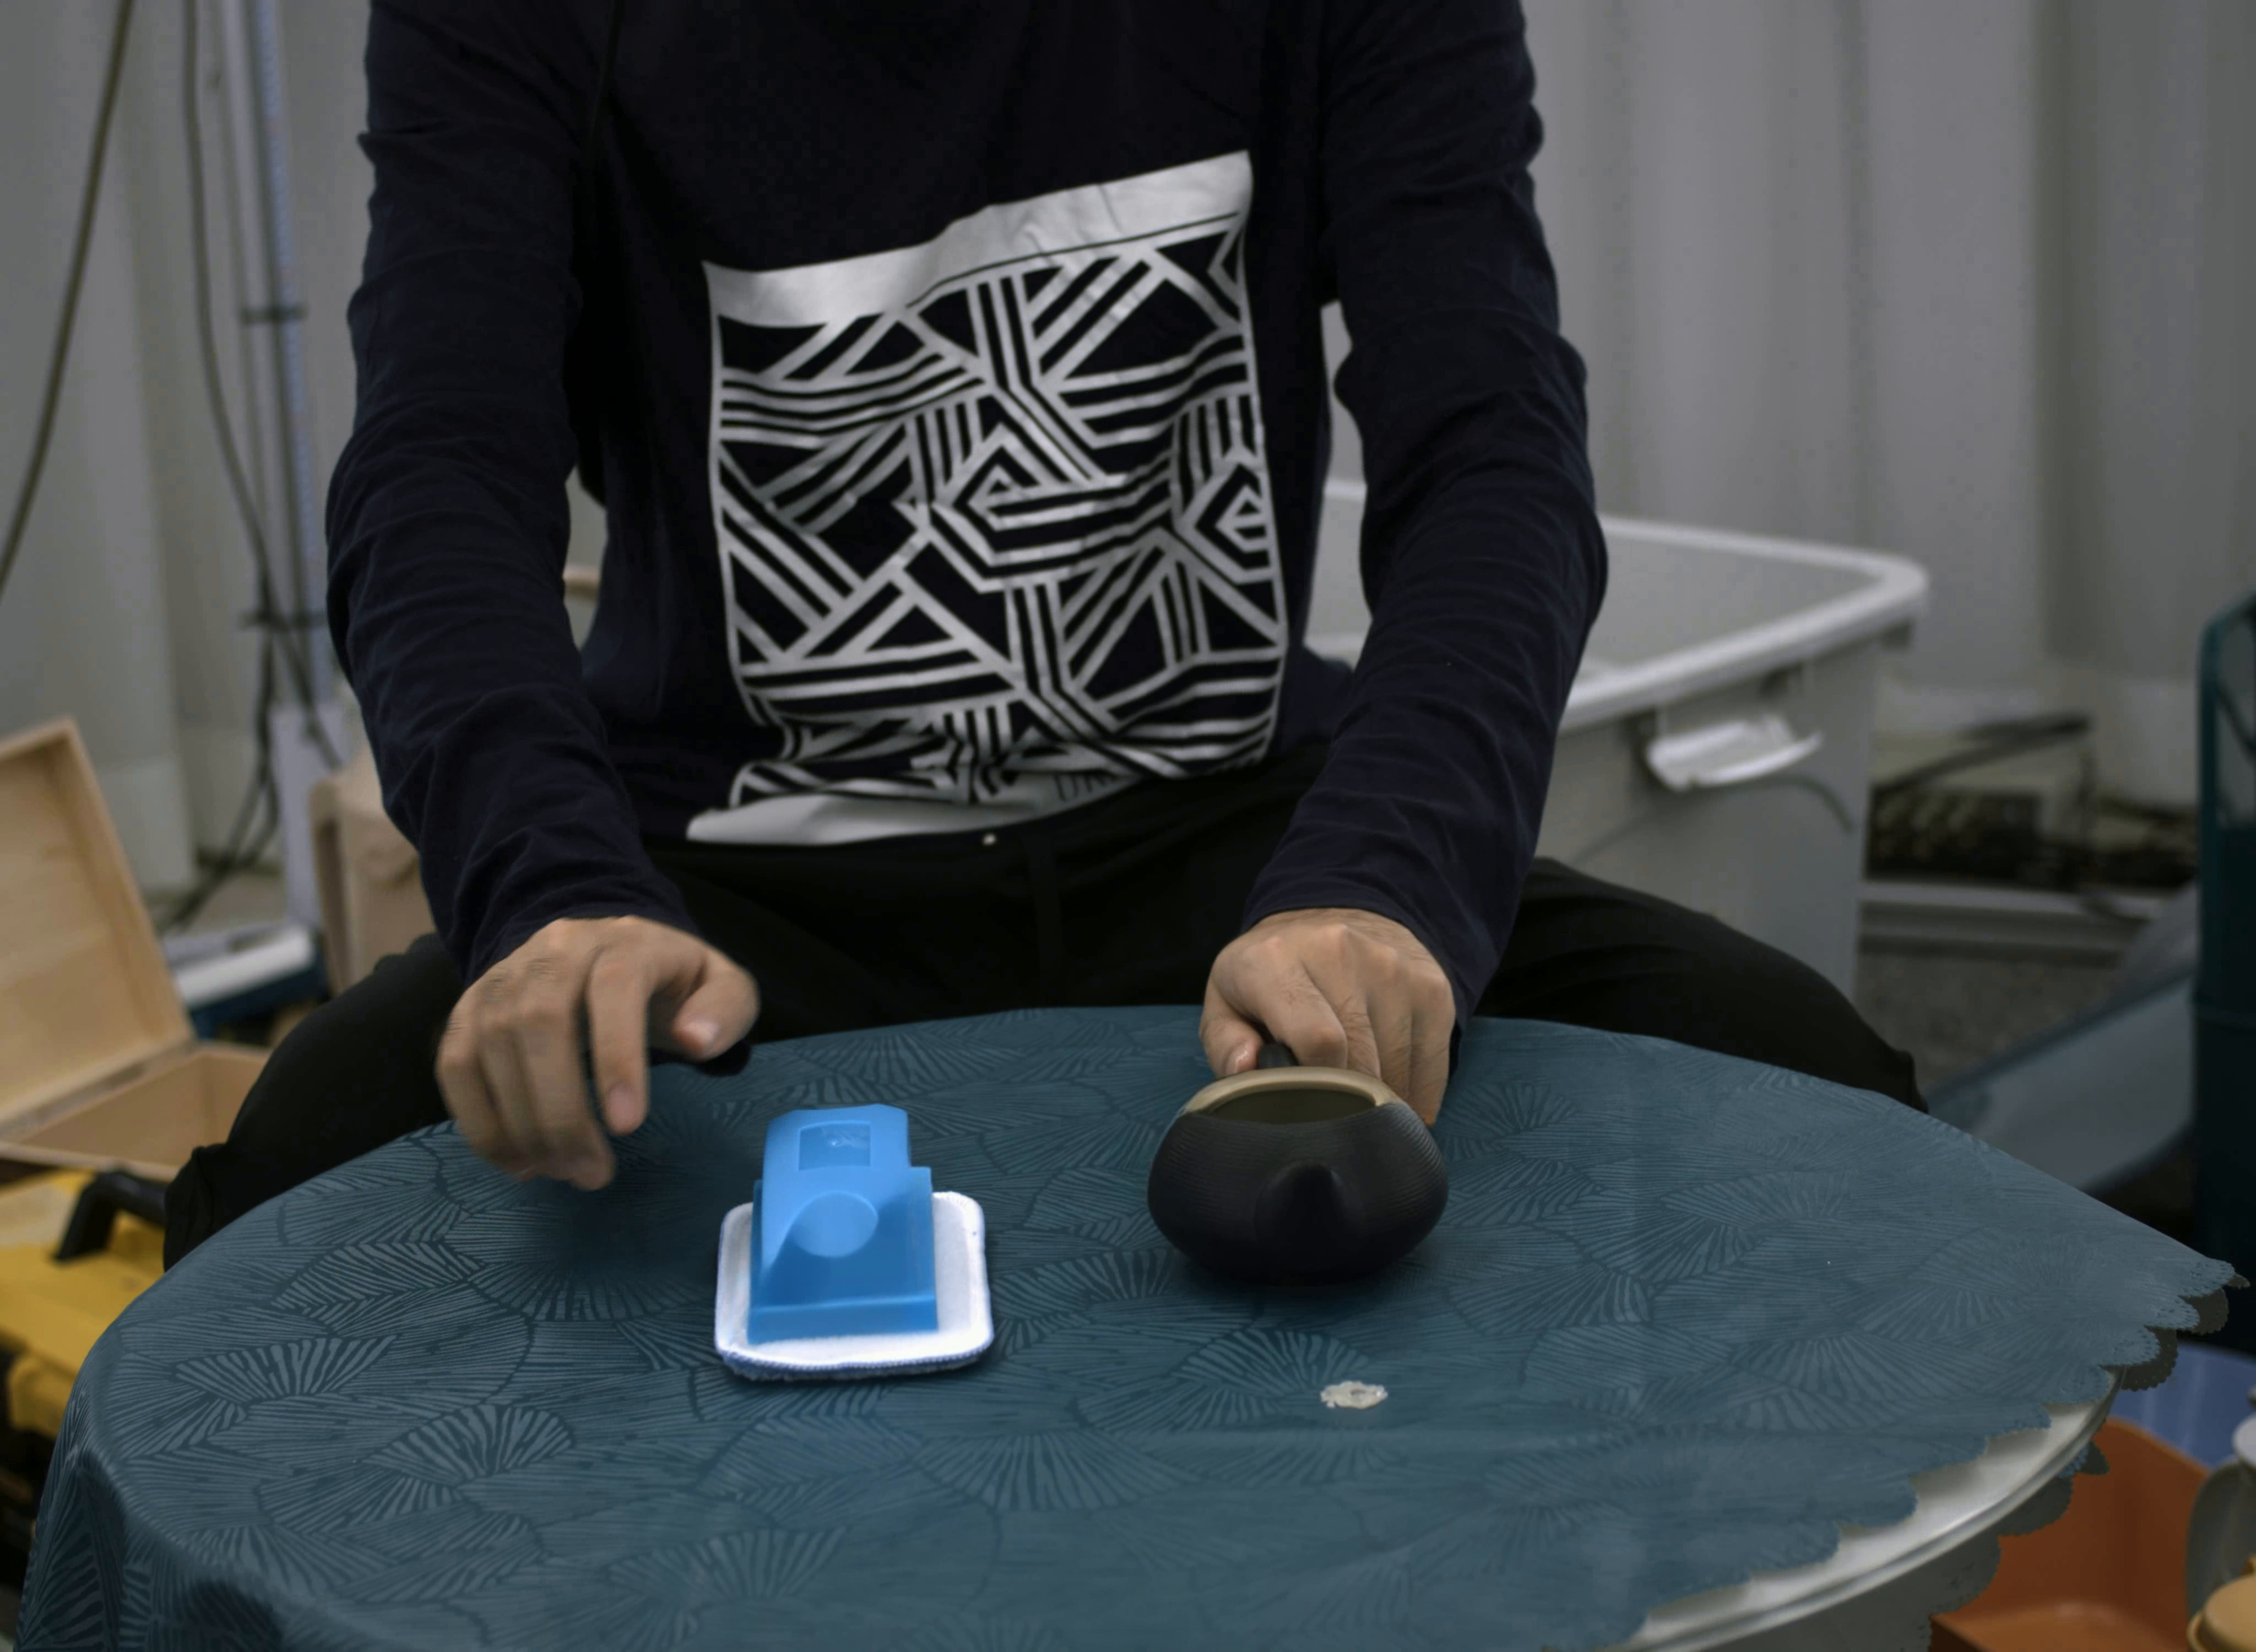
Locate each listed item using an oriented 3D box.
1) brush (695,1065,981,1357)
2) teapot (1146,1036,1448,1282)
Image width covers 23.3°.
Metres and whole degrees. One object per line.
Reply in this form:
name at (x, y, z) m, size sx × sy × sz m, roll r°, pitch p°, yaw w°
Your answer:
brush at (-0.086, 0.111, 1.625) m, size 0.083 × 0.055 × 0.145 m, roll 0°, pitch 18°, yaw -1°
teapot at (0.050, 0.103, 1.639) m, size 0.090 × 0.053 × 0.134 m, roll -3°, pitch 16°, yaw -3°
